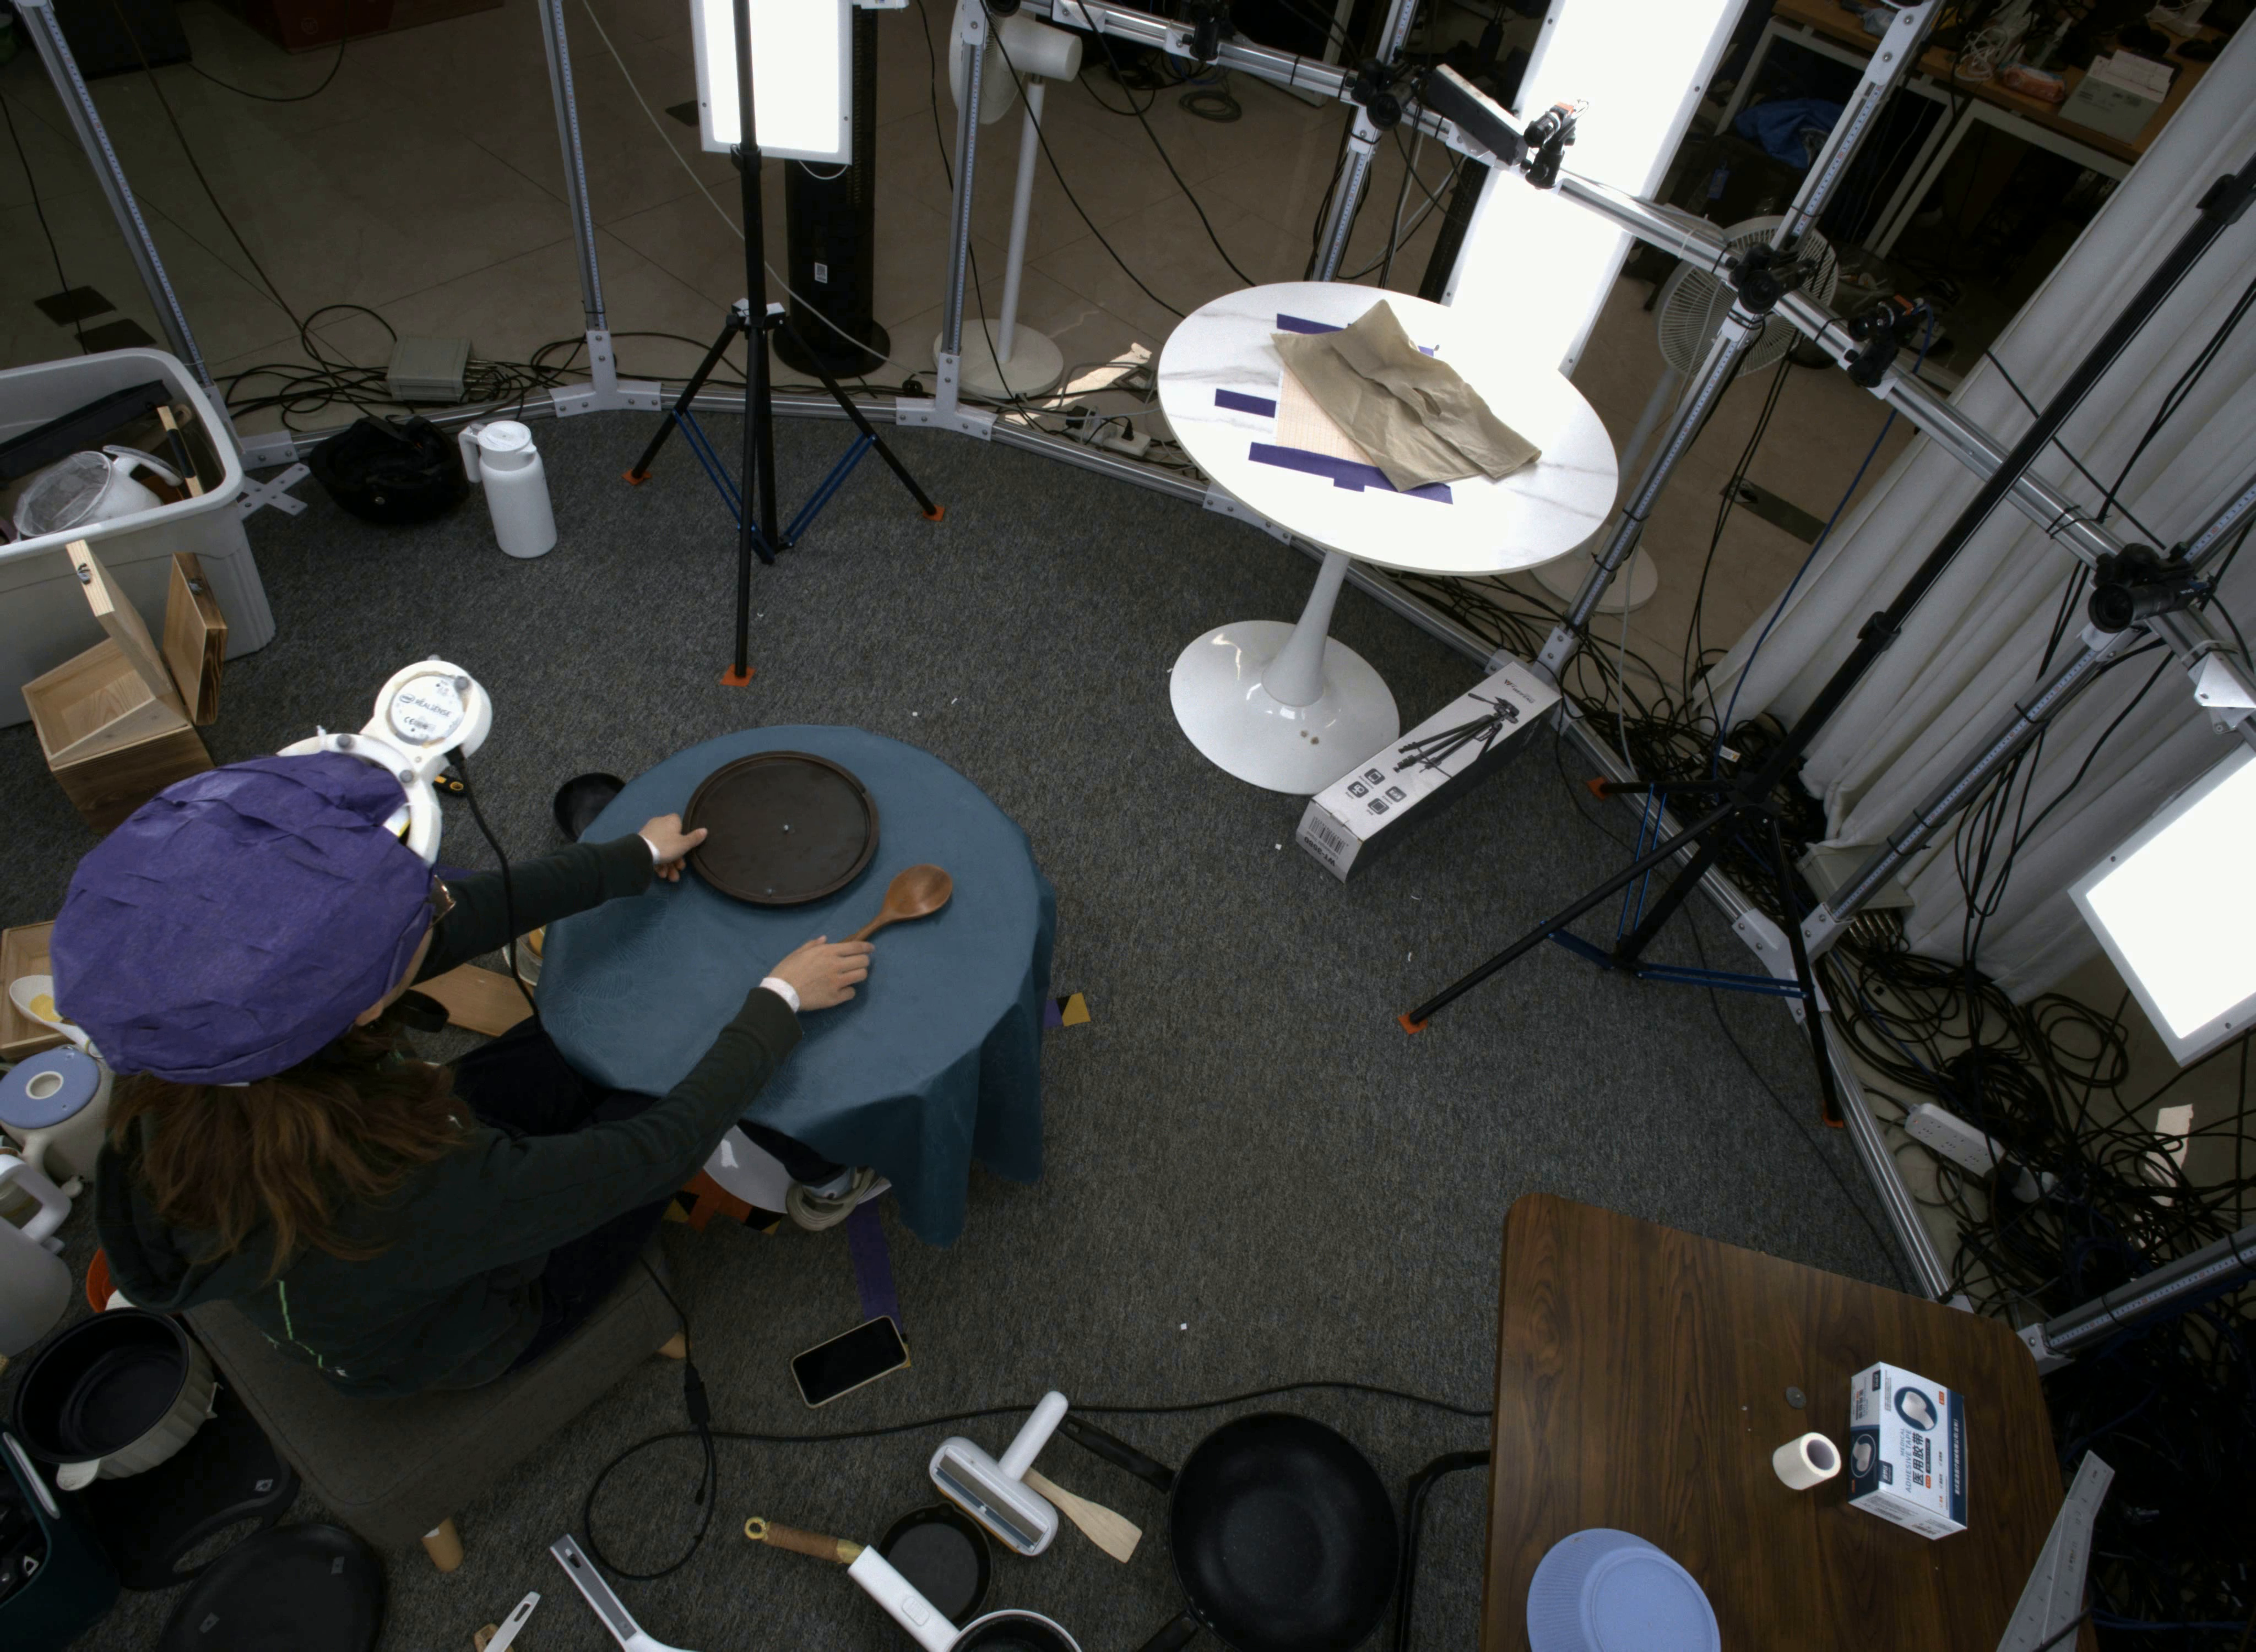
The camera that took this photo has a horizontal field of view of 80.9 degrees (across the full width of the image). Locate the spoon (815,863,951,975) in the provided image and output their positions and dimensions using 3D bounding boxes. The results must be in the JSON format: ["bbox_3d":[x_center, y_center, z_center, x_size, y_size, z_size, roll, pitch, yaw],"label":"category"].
[{"bbox_3d":[-0.313,0.118,1.659,0.074,0.017,0.216,39,54,15],"label":"spoon"}]

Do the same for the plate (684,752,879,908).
[{"bbox_3d":[-0.455,0.002,1.705,0.254,0.029,0.250,8,51,-8],"label":"plate"}]
